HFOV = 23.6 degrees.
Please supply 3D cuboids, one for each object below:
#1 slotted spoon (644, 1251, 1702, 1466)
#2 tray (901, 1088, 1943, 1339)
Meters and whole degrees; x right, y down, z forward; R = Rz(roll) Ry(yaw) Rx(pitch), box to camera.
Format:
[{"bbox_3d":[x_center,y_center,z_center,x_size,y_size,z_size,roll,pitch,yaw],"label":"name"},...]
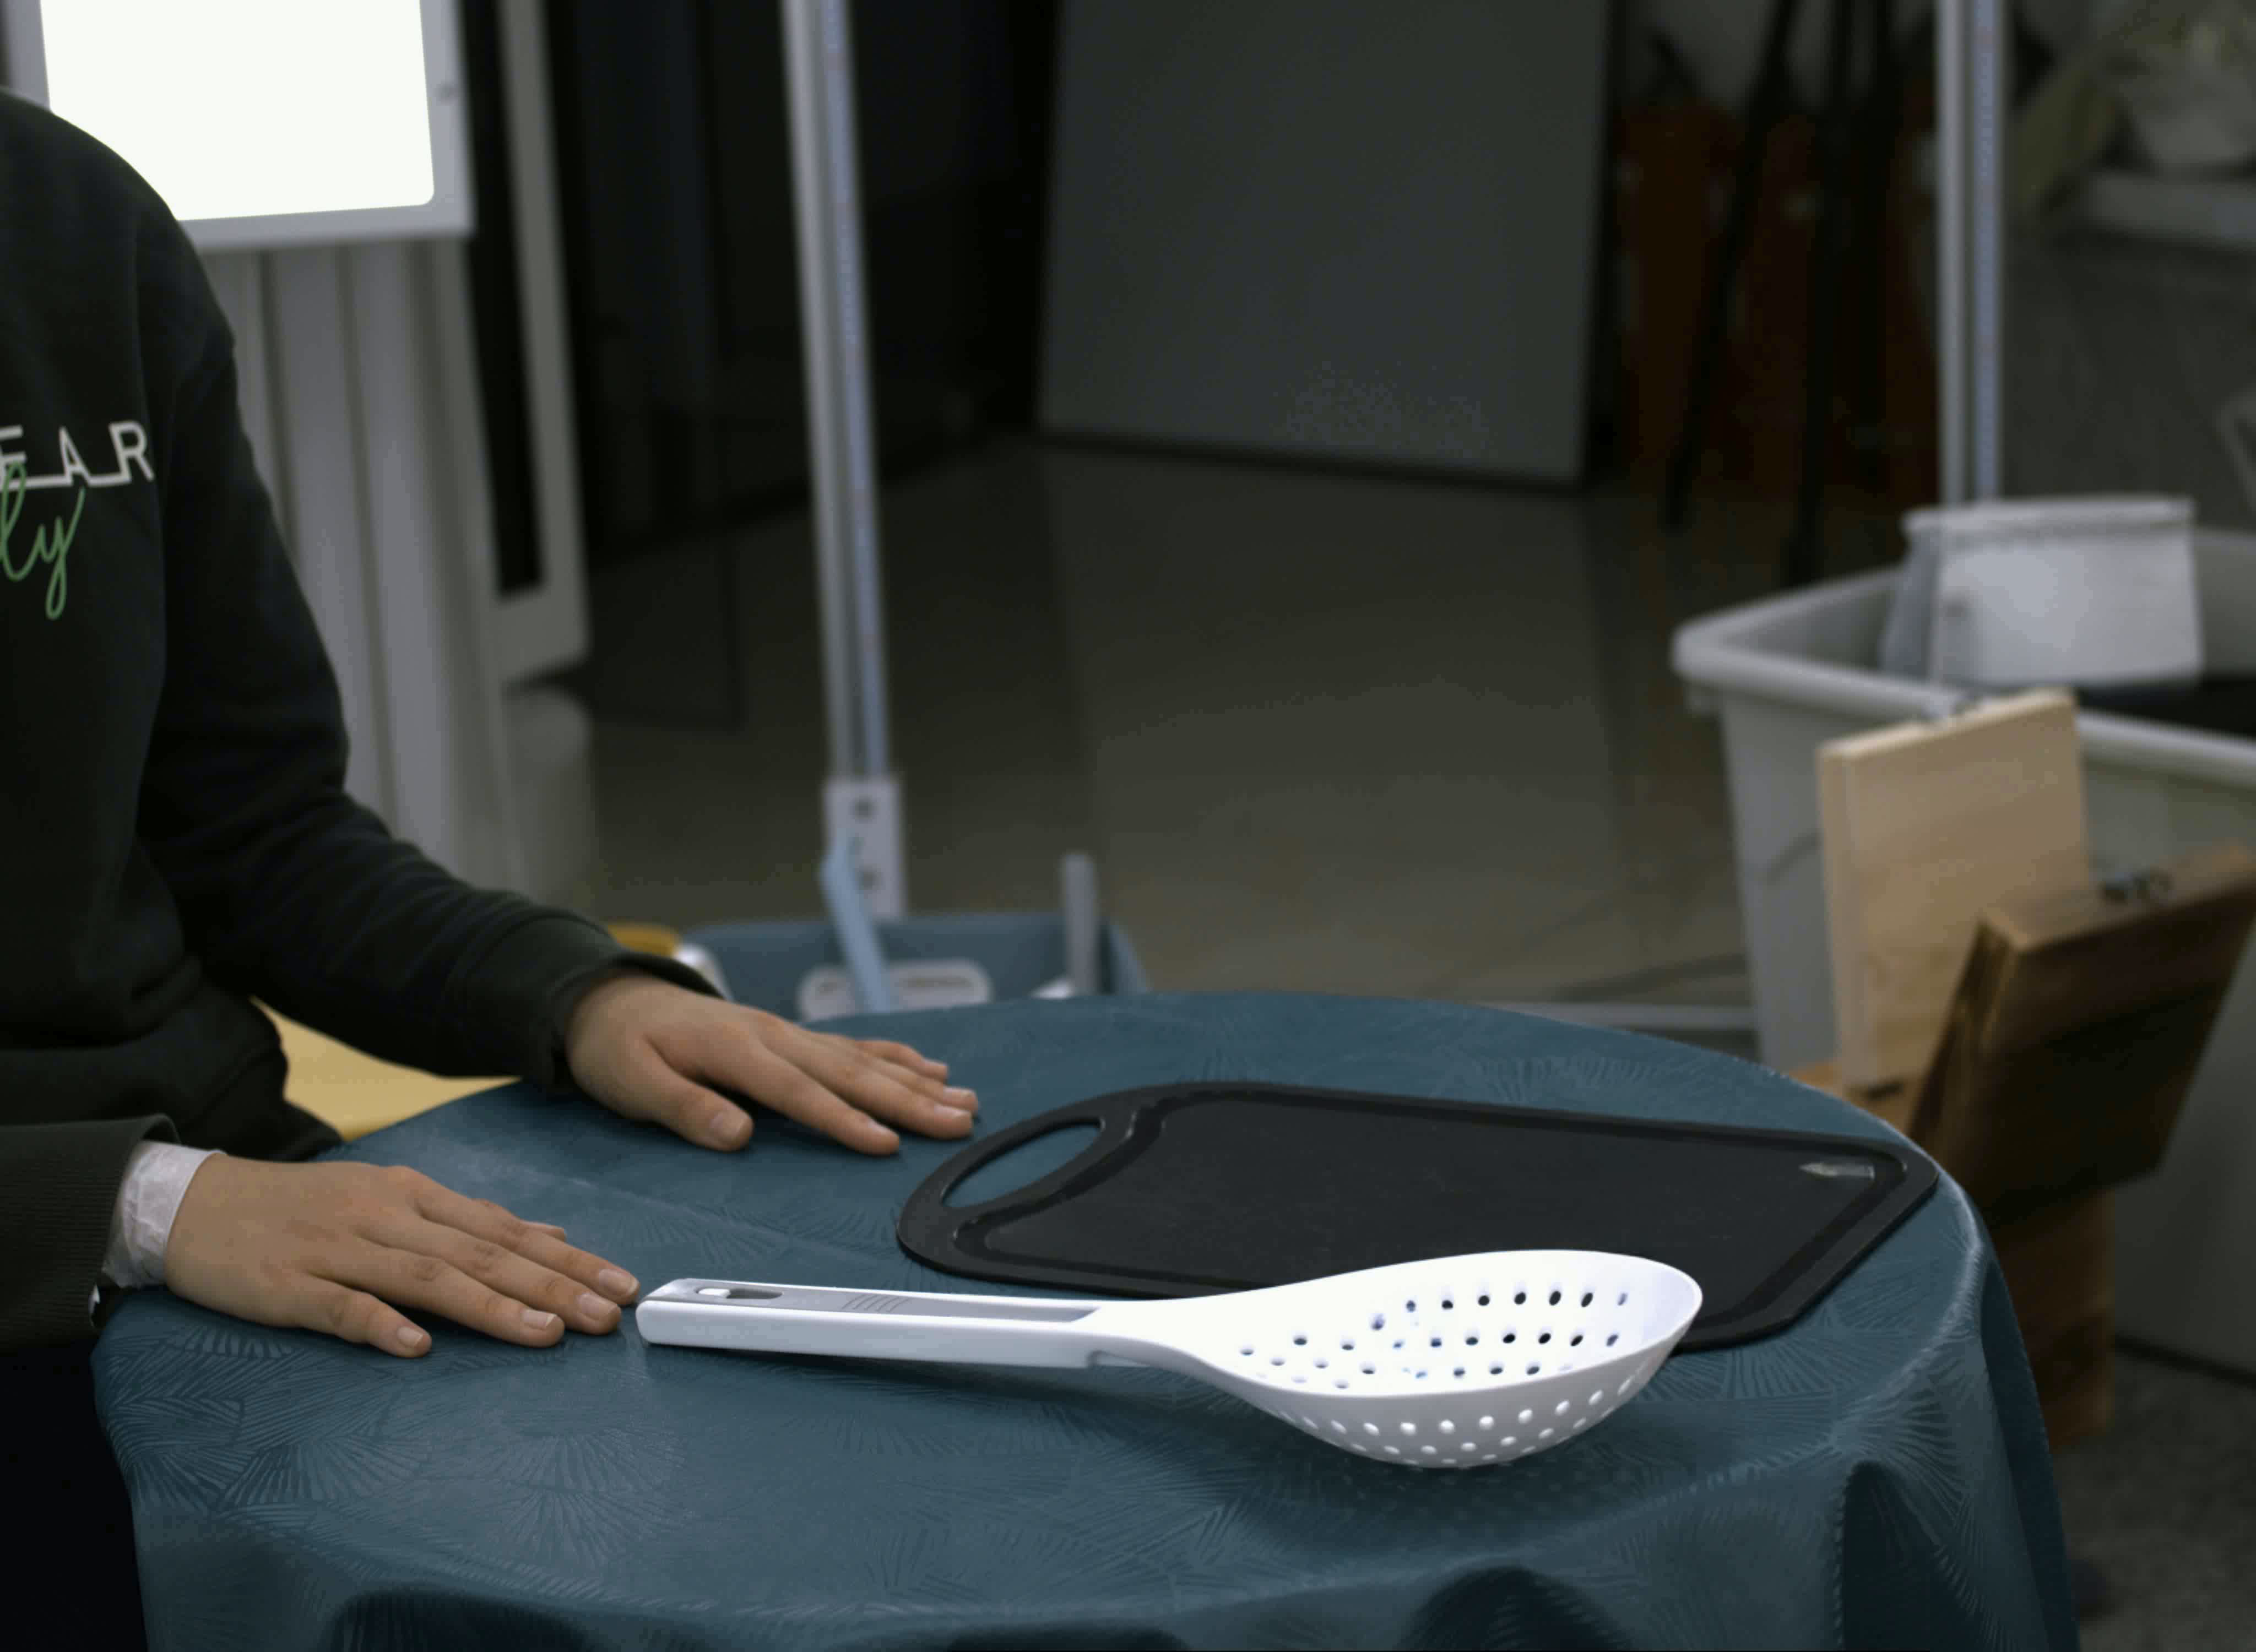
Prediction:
[{"bbox_3d":[0.004,0.148,1.568,0.351,0.046,0.134,4,14,32],"label":"slotted spoon"},{"bbox_3d":[0.087,0.121,1.733,0.326,0.010,0.208,3,15,29],"label":"tray"}]
